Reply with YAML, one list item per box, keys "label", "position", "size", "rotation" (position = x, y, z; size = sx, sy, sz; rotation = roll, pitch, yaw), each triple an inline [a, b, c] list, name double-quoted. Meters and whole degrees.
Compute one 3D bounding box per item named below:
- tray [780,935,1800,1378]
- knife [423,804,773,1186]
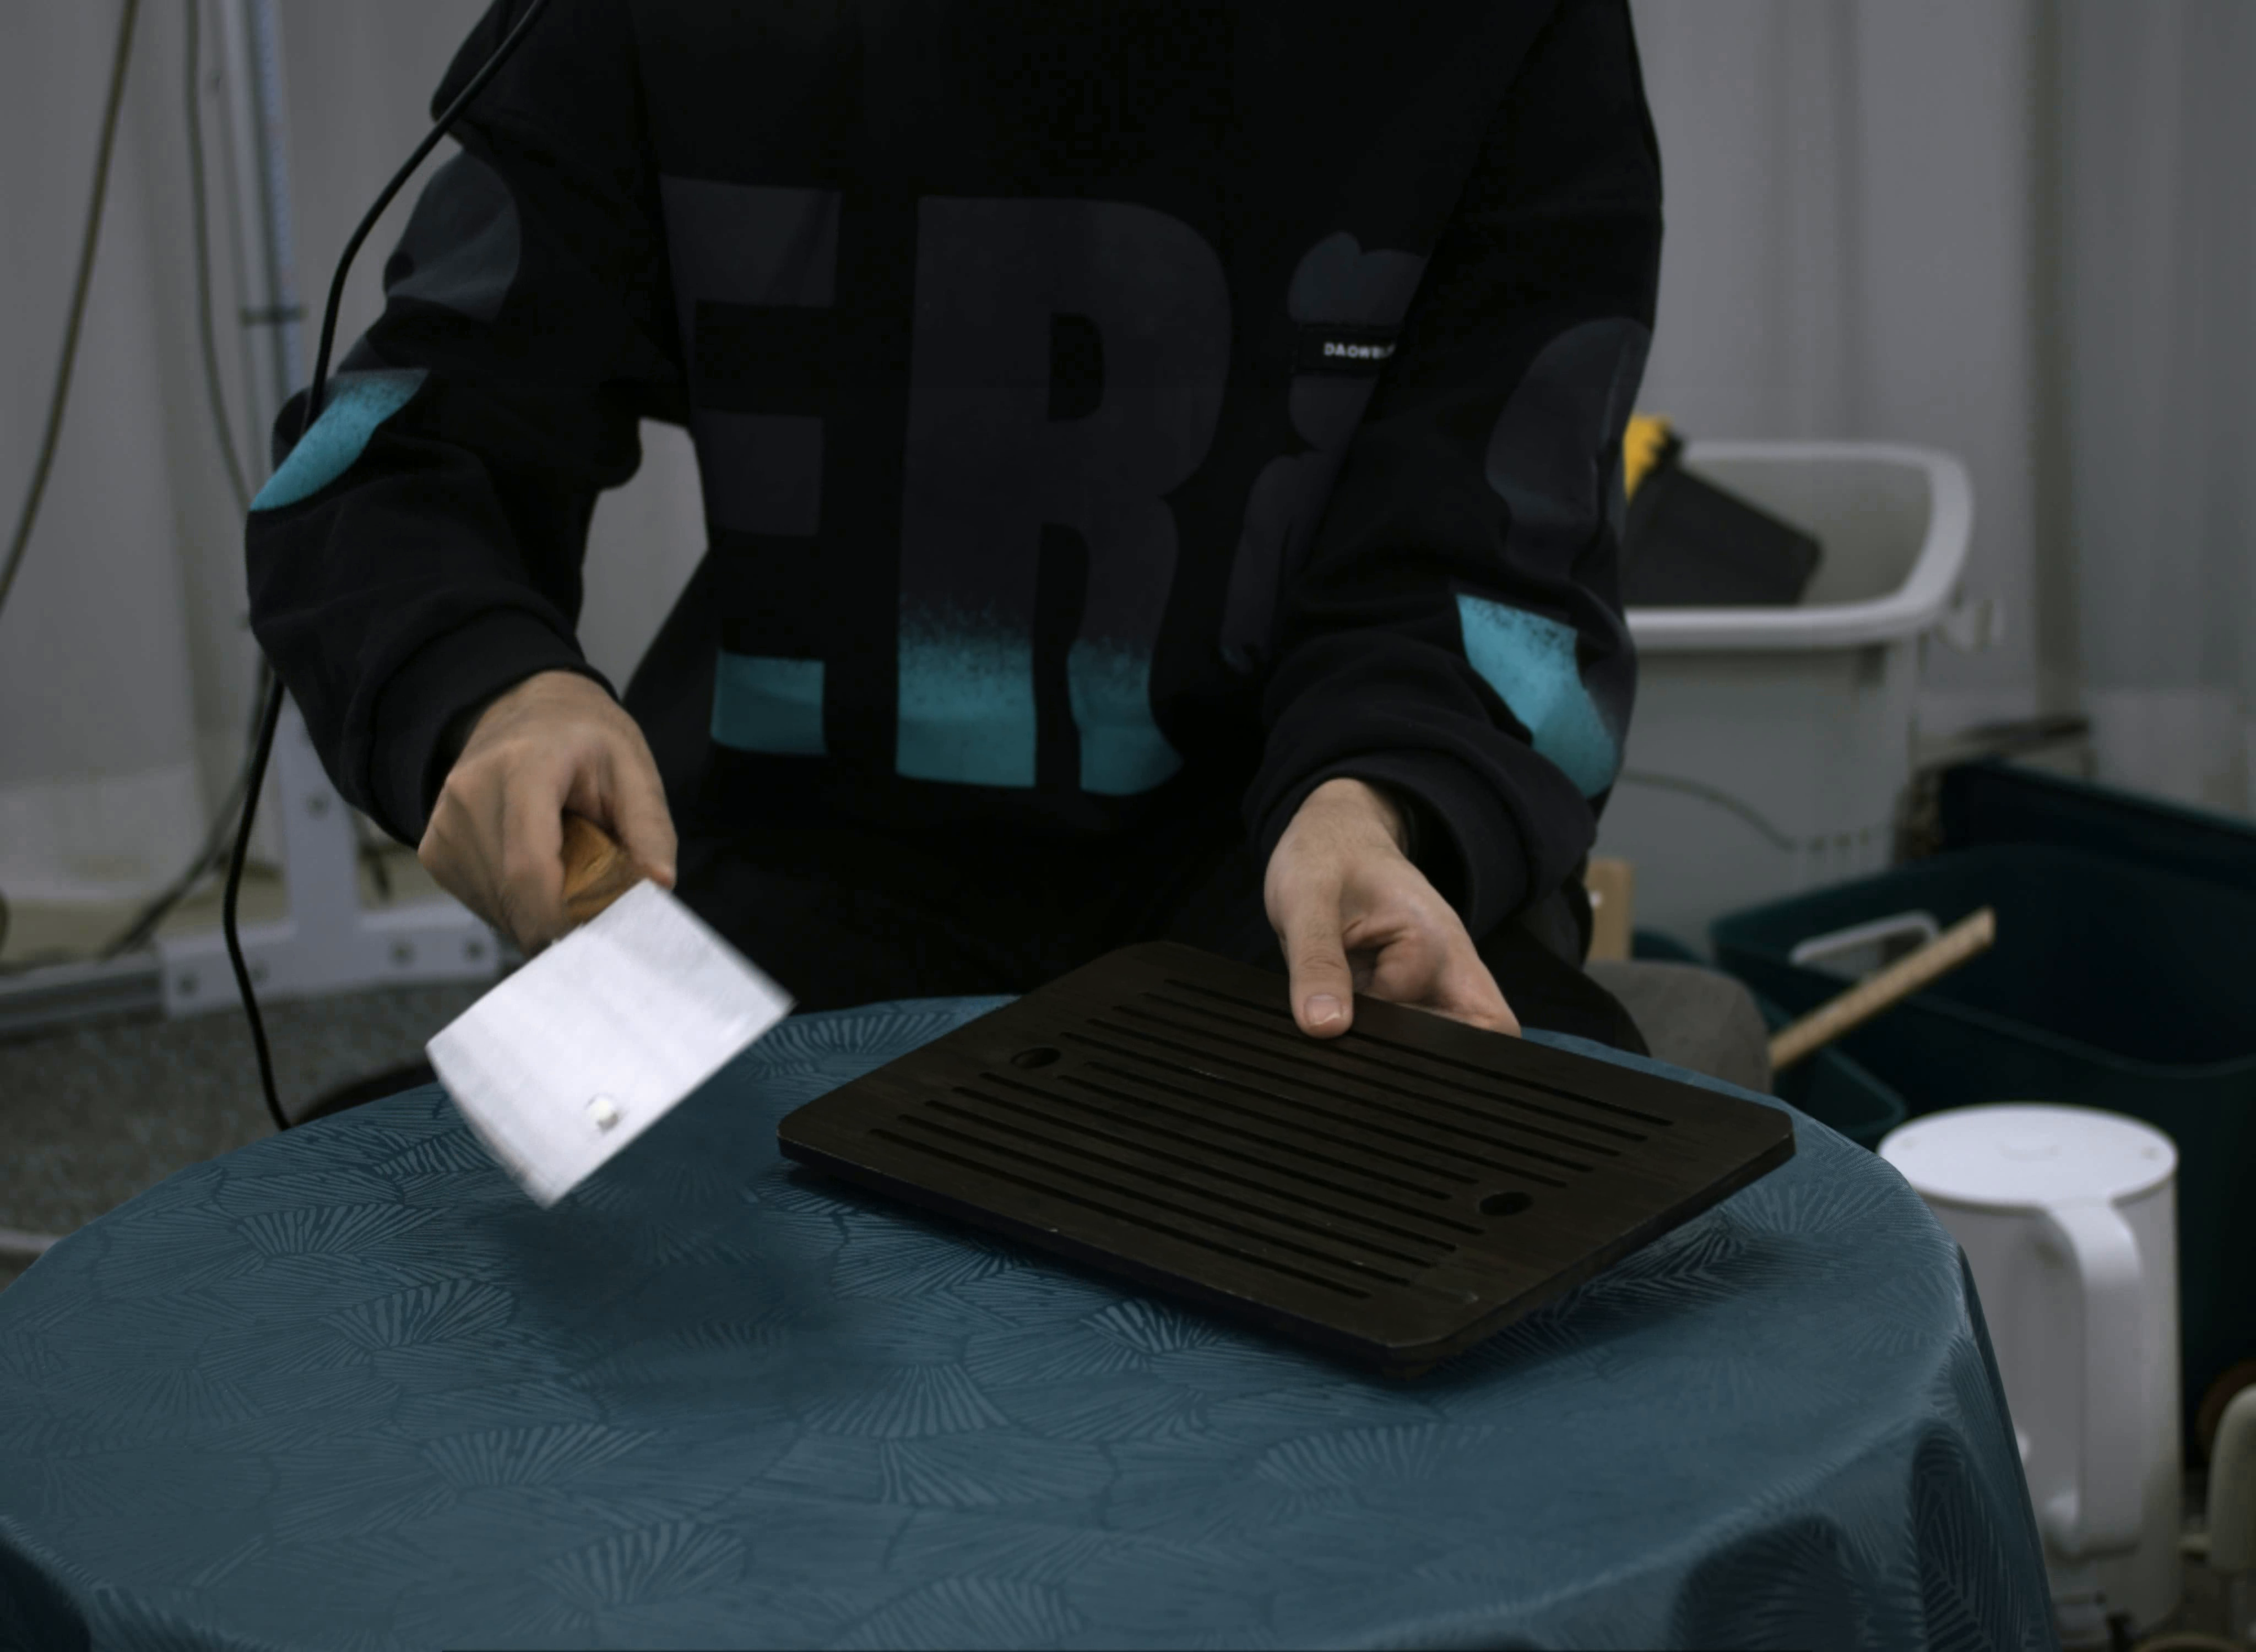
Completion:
- label: "tray"
  position: [0.045, 0.098, 1.687]
  size: [0.170, 0.018, 0.308]
  rotation: [-26, 25, -34]
- label: "knife"
  position: [-0.179, 0.053, 1.714]
  size: [0.093, 0.021, 0.308]
  rotation: [-40, 21, -5]
